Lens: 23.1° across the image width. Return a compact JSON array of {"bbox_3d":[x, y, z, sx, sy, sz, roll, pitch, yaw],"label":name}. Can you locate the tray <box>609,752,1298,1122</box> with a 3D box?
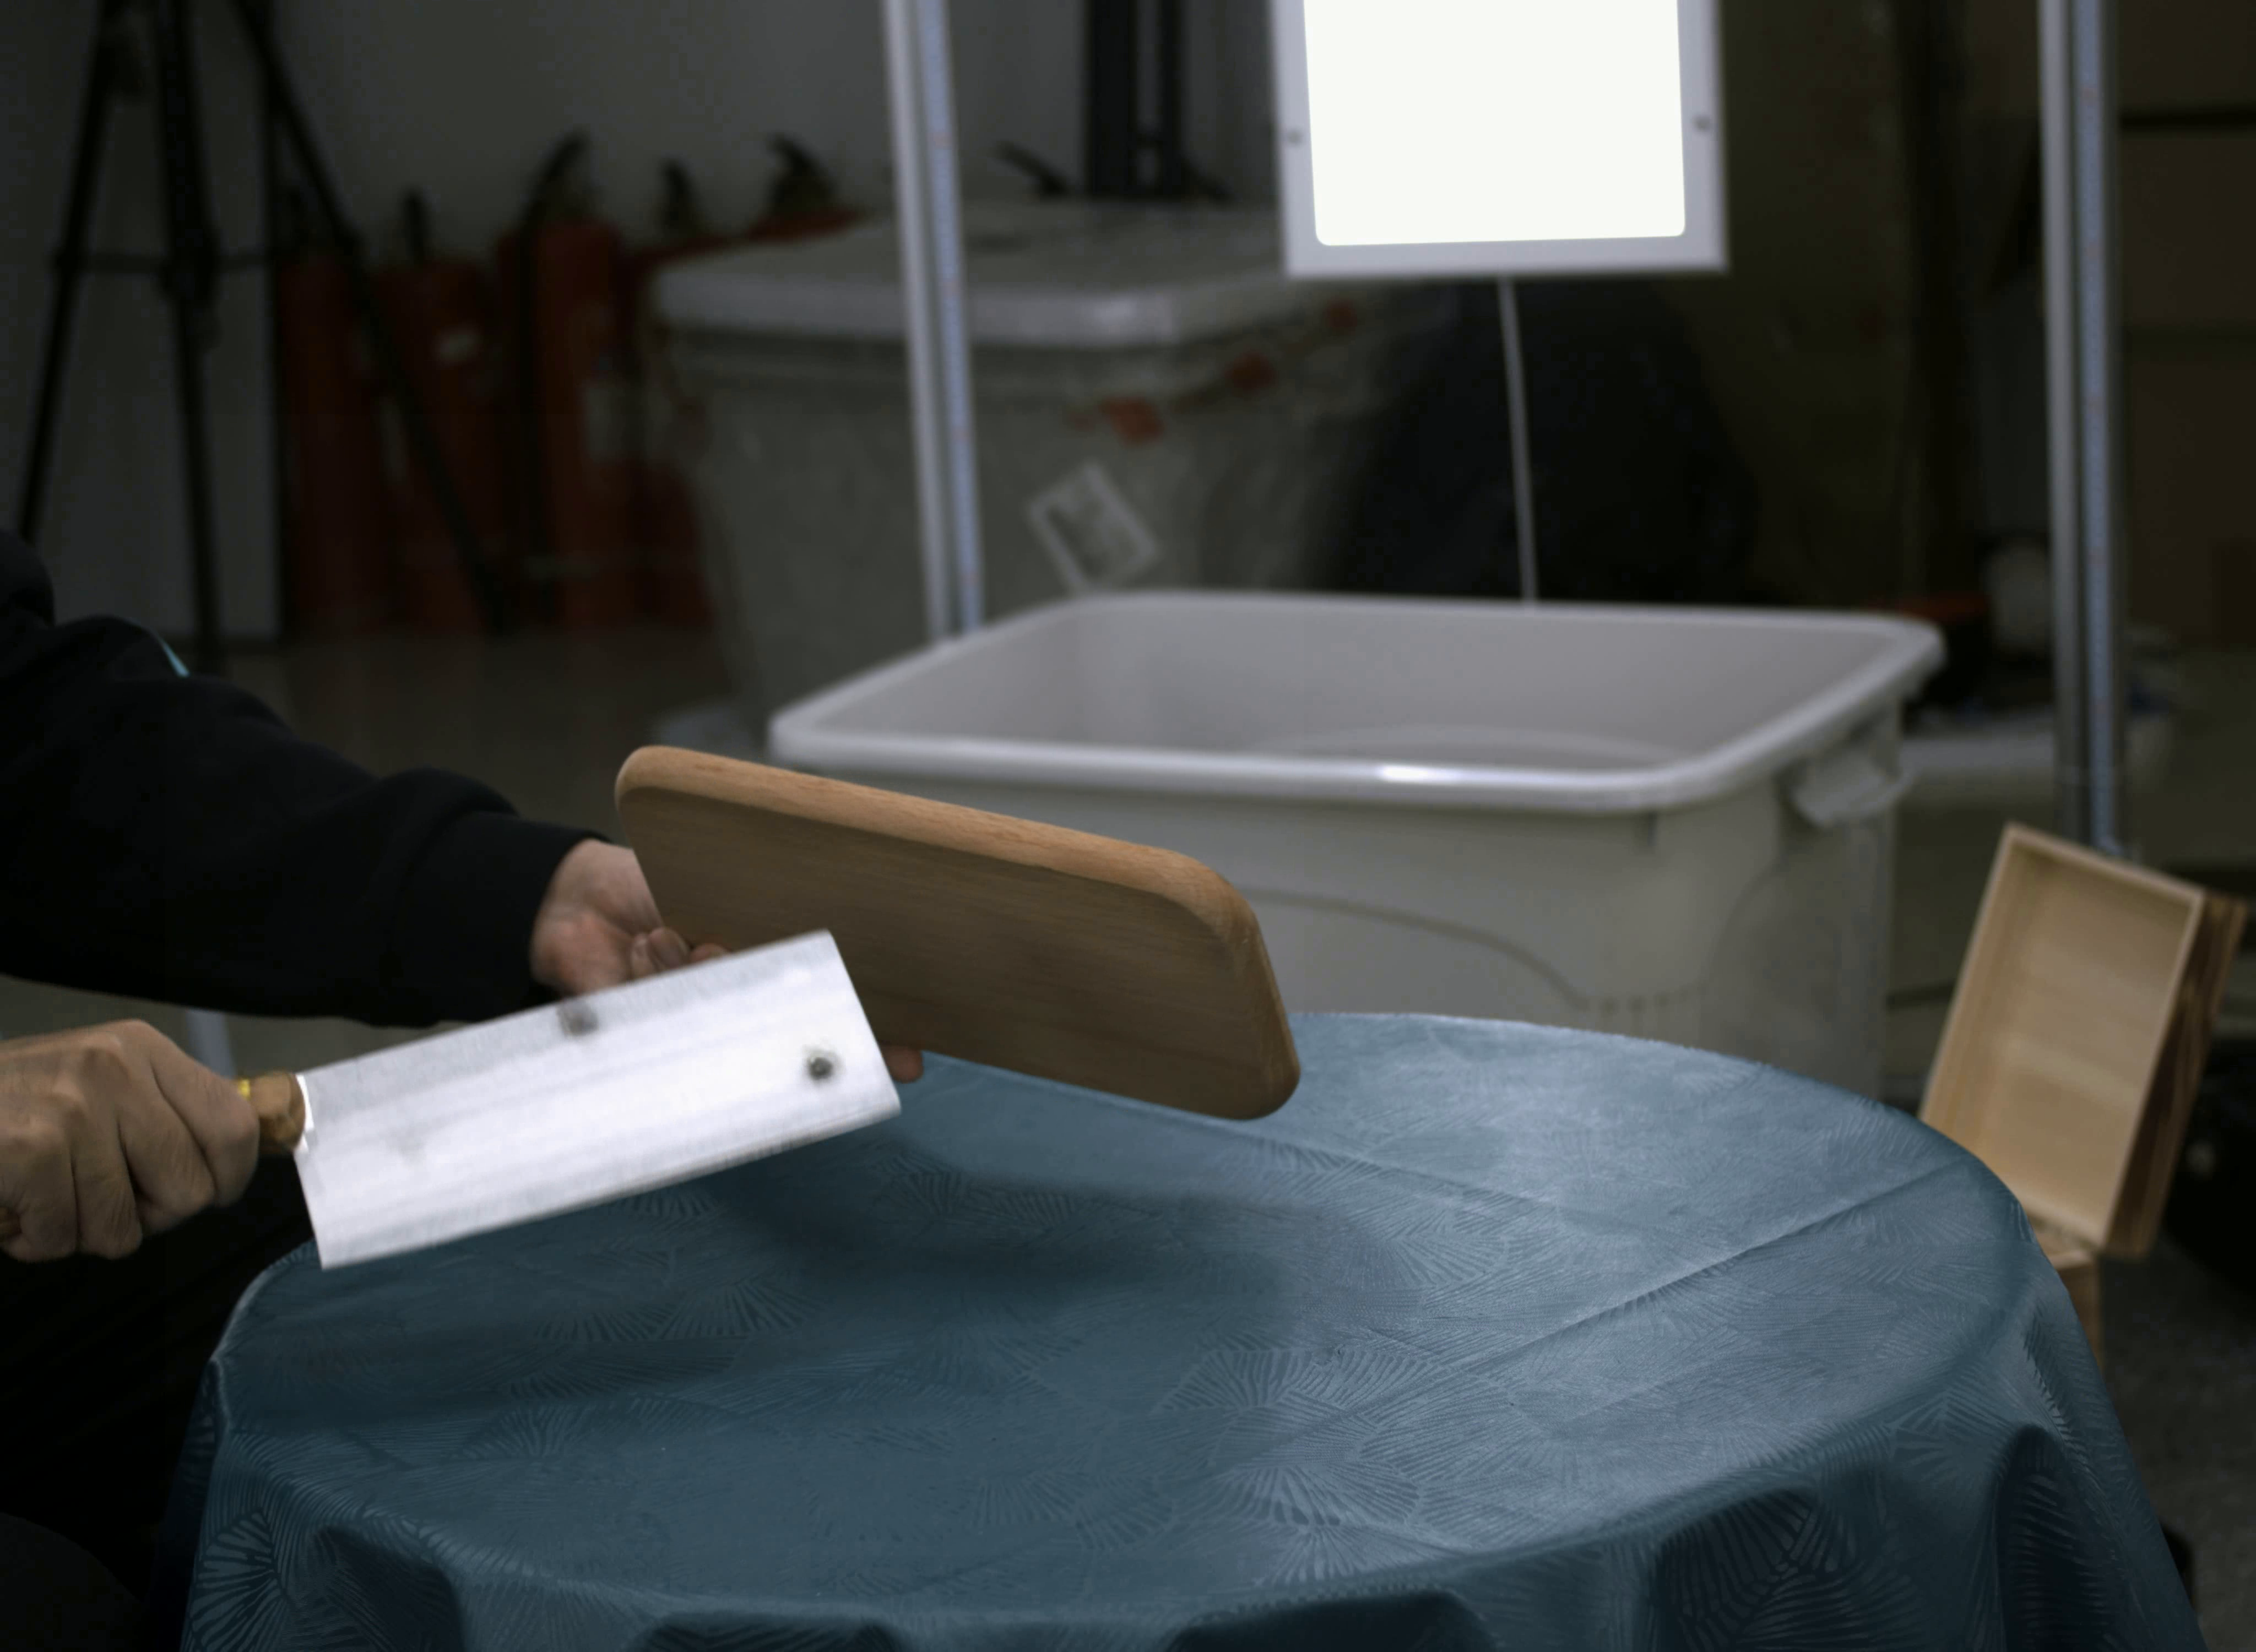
[{"bbox_3d":[-0.063,0.039,1.882,0.255,0.130,0.022,9,47,30],"label":"tray"}]

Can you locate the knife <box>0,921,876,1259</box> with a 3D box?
[{"bbox_3d":[-0.231,0.097,1.771,0.303,0.021,0.093,-16,41,-8],"label":"knife"}]
